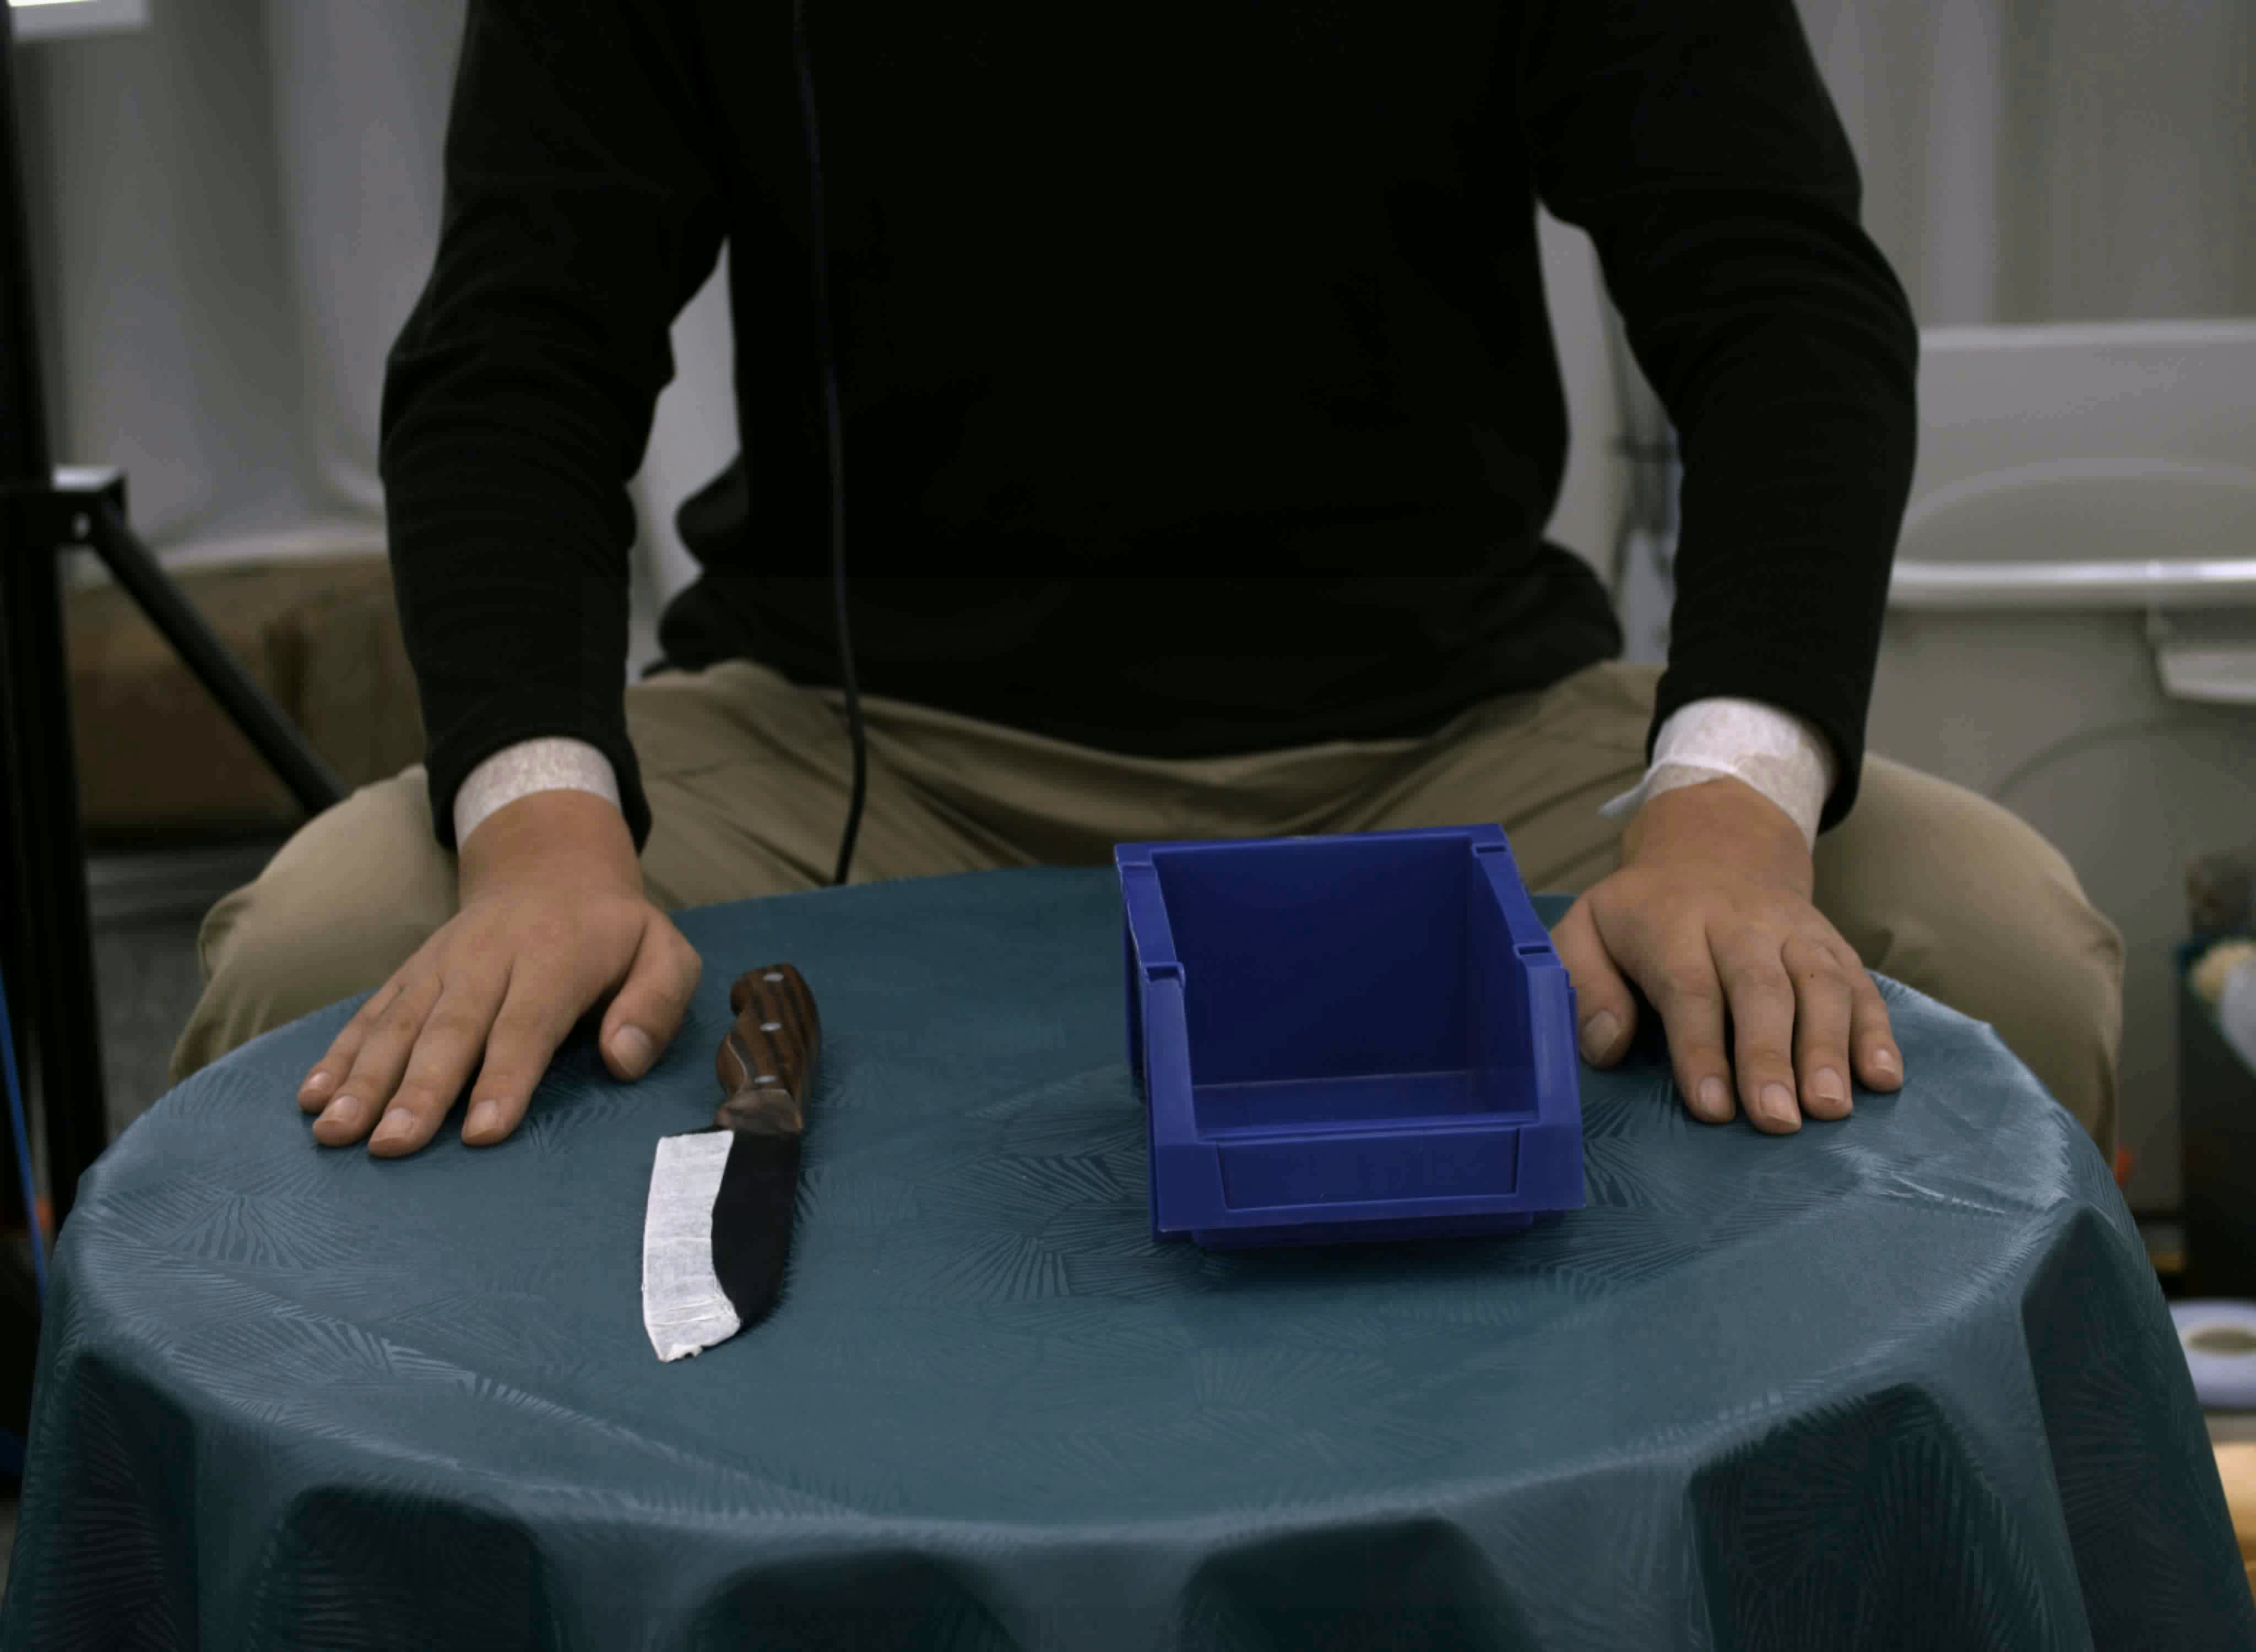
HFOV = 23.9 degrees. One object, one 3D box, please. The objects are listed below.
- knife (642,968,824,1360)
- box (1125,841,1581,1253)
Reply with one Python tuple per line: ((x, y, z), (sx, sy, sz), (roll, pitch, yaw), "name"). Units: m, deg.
((-0.116, 0.099, 1.581), (0.050, 0.020, 0.290), (-7, 18, 4), "knife")
((0.065, 0.067, 1.543), (0.124, 0.082, 0.180), (-2, 13, -1), "box")
